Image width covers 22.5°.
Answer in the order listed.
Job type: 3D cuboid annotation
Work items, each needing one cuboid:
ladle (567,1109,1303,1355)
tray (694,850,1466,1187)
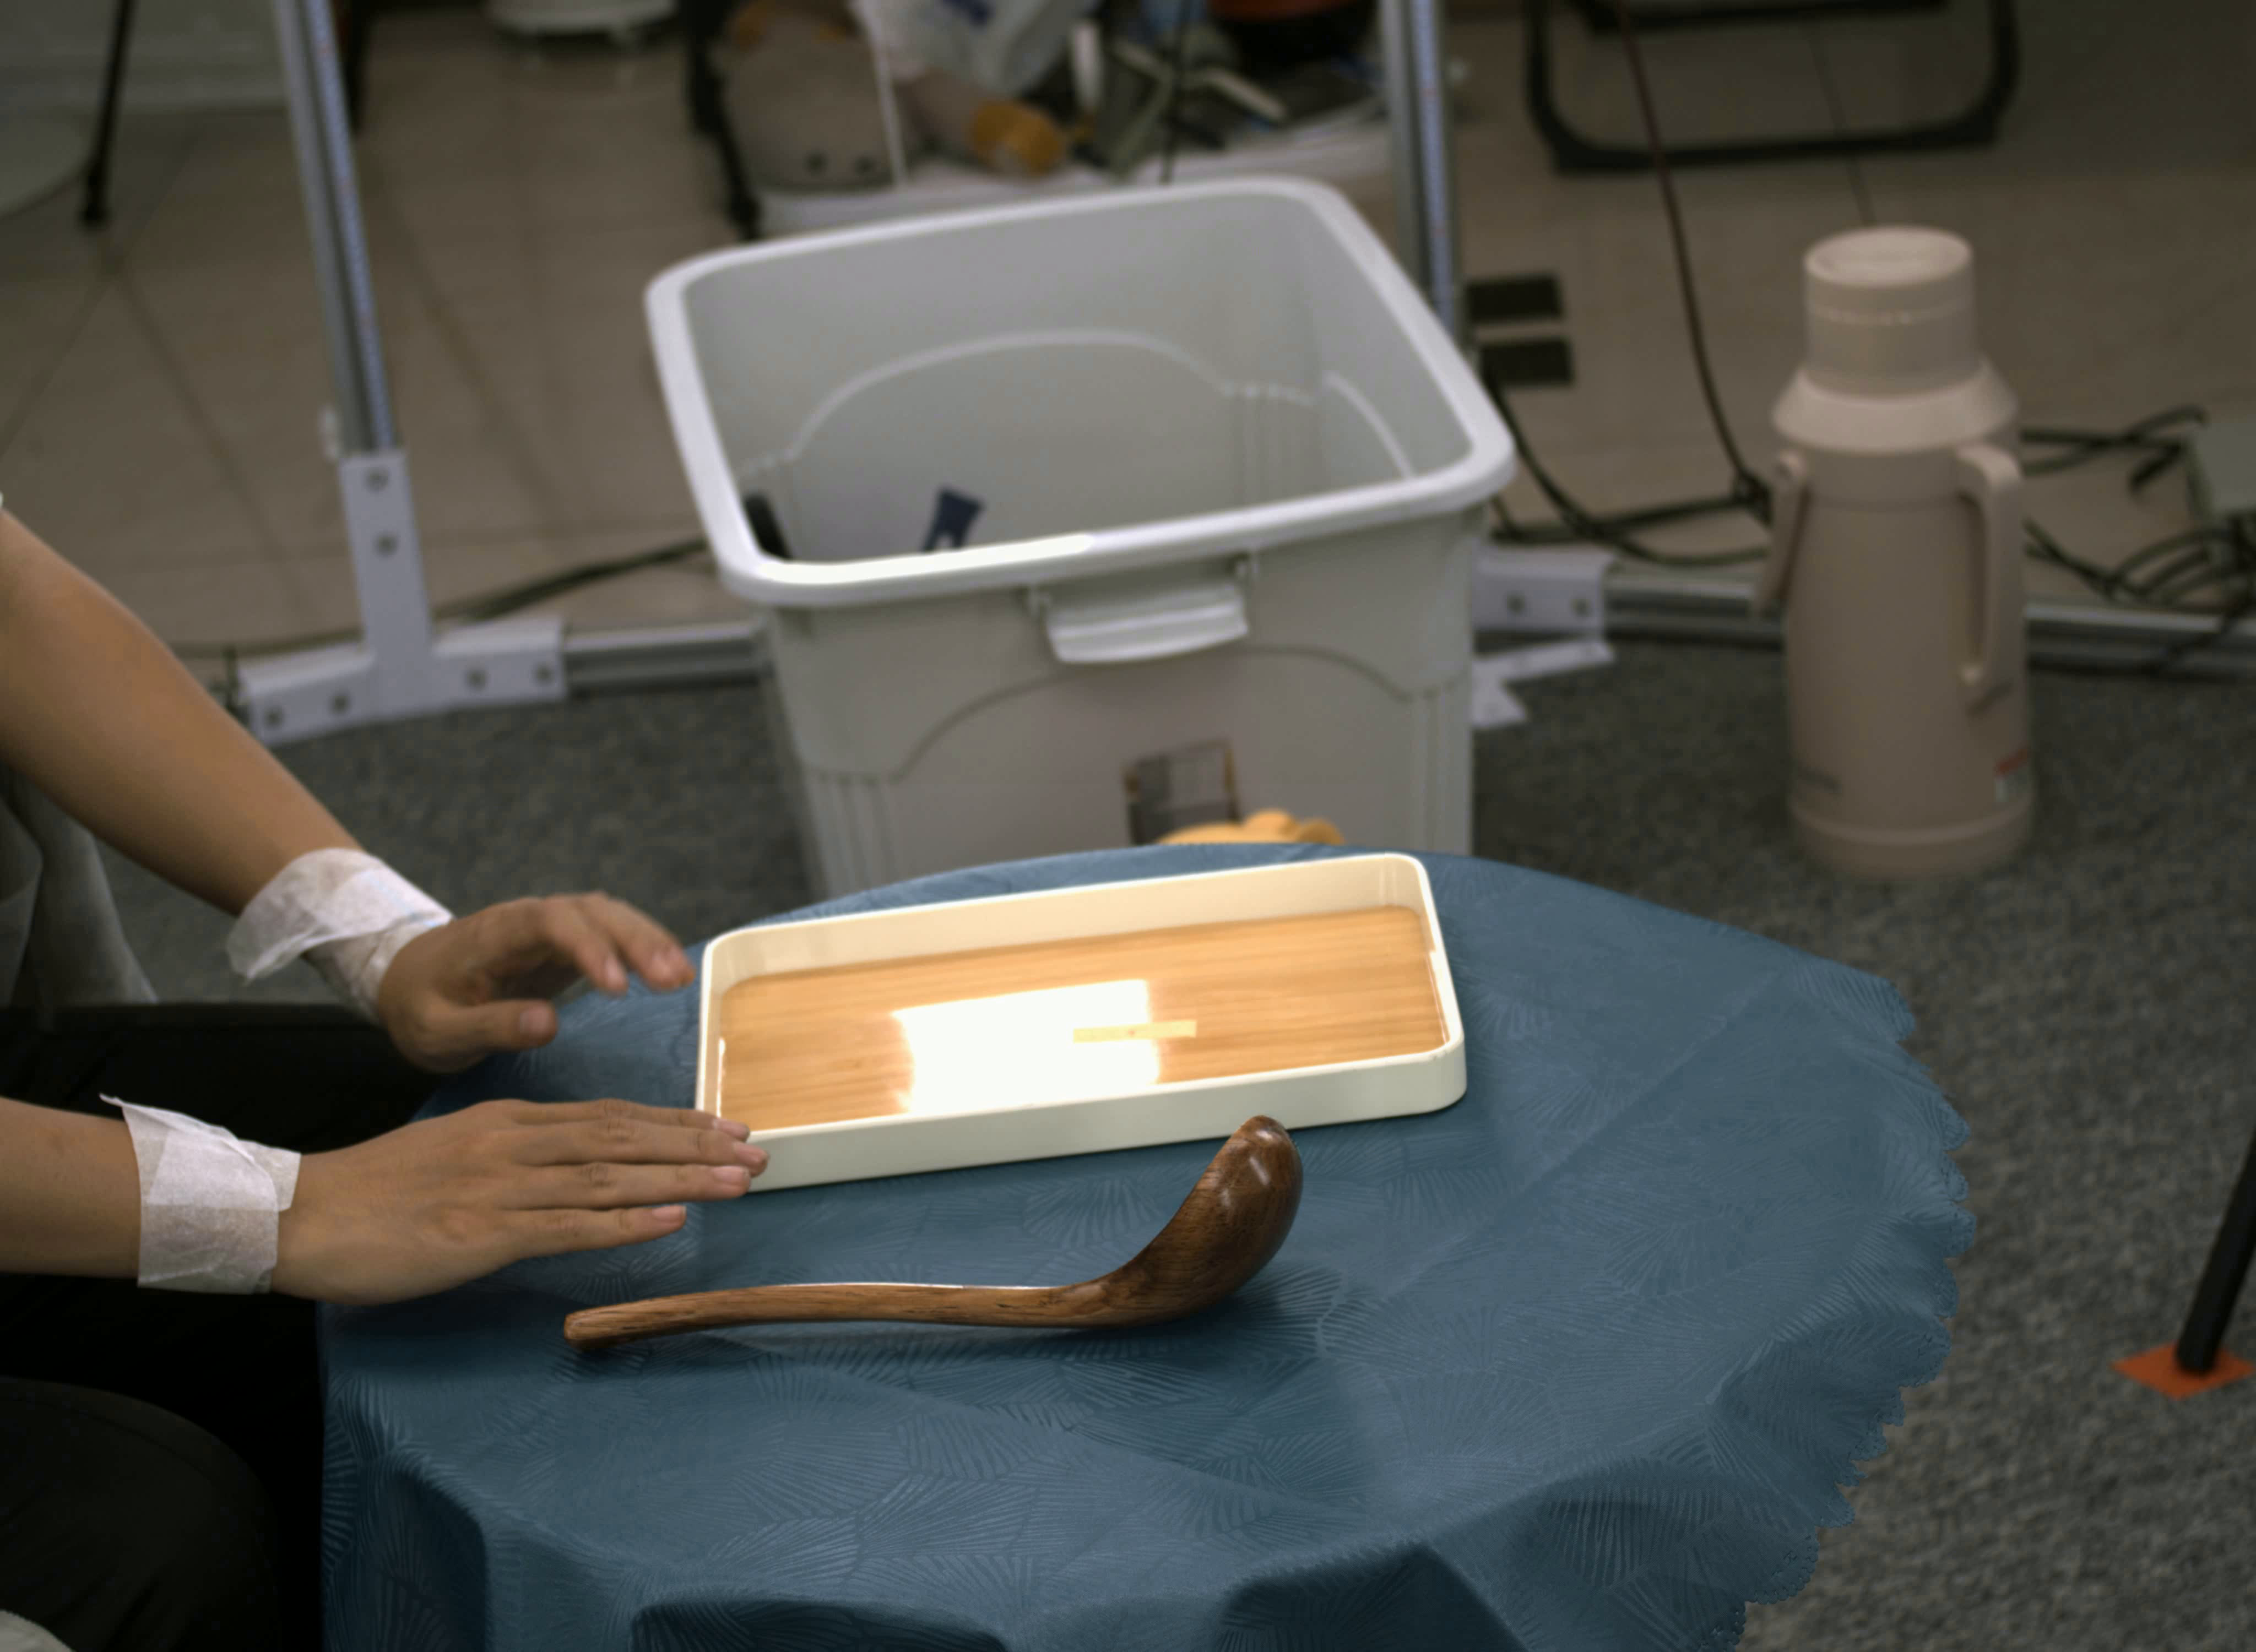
[{"bbox_3d":[-0.072,0.147,2.067,0.273,0.076,0.082,-3,-15,10],"label":"ladle"},{"bbox_3d":[-0.021,0.075,2.261,0.300,0.028,0.189,-6,25,0],"label":"tray"}]
